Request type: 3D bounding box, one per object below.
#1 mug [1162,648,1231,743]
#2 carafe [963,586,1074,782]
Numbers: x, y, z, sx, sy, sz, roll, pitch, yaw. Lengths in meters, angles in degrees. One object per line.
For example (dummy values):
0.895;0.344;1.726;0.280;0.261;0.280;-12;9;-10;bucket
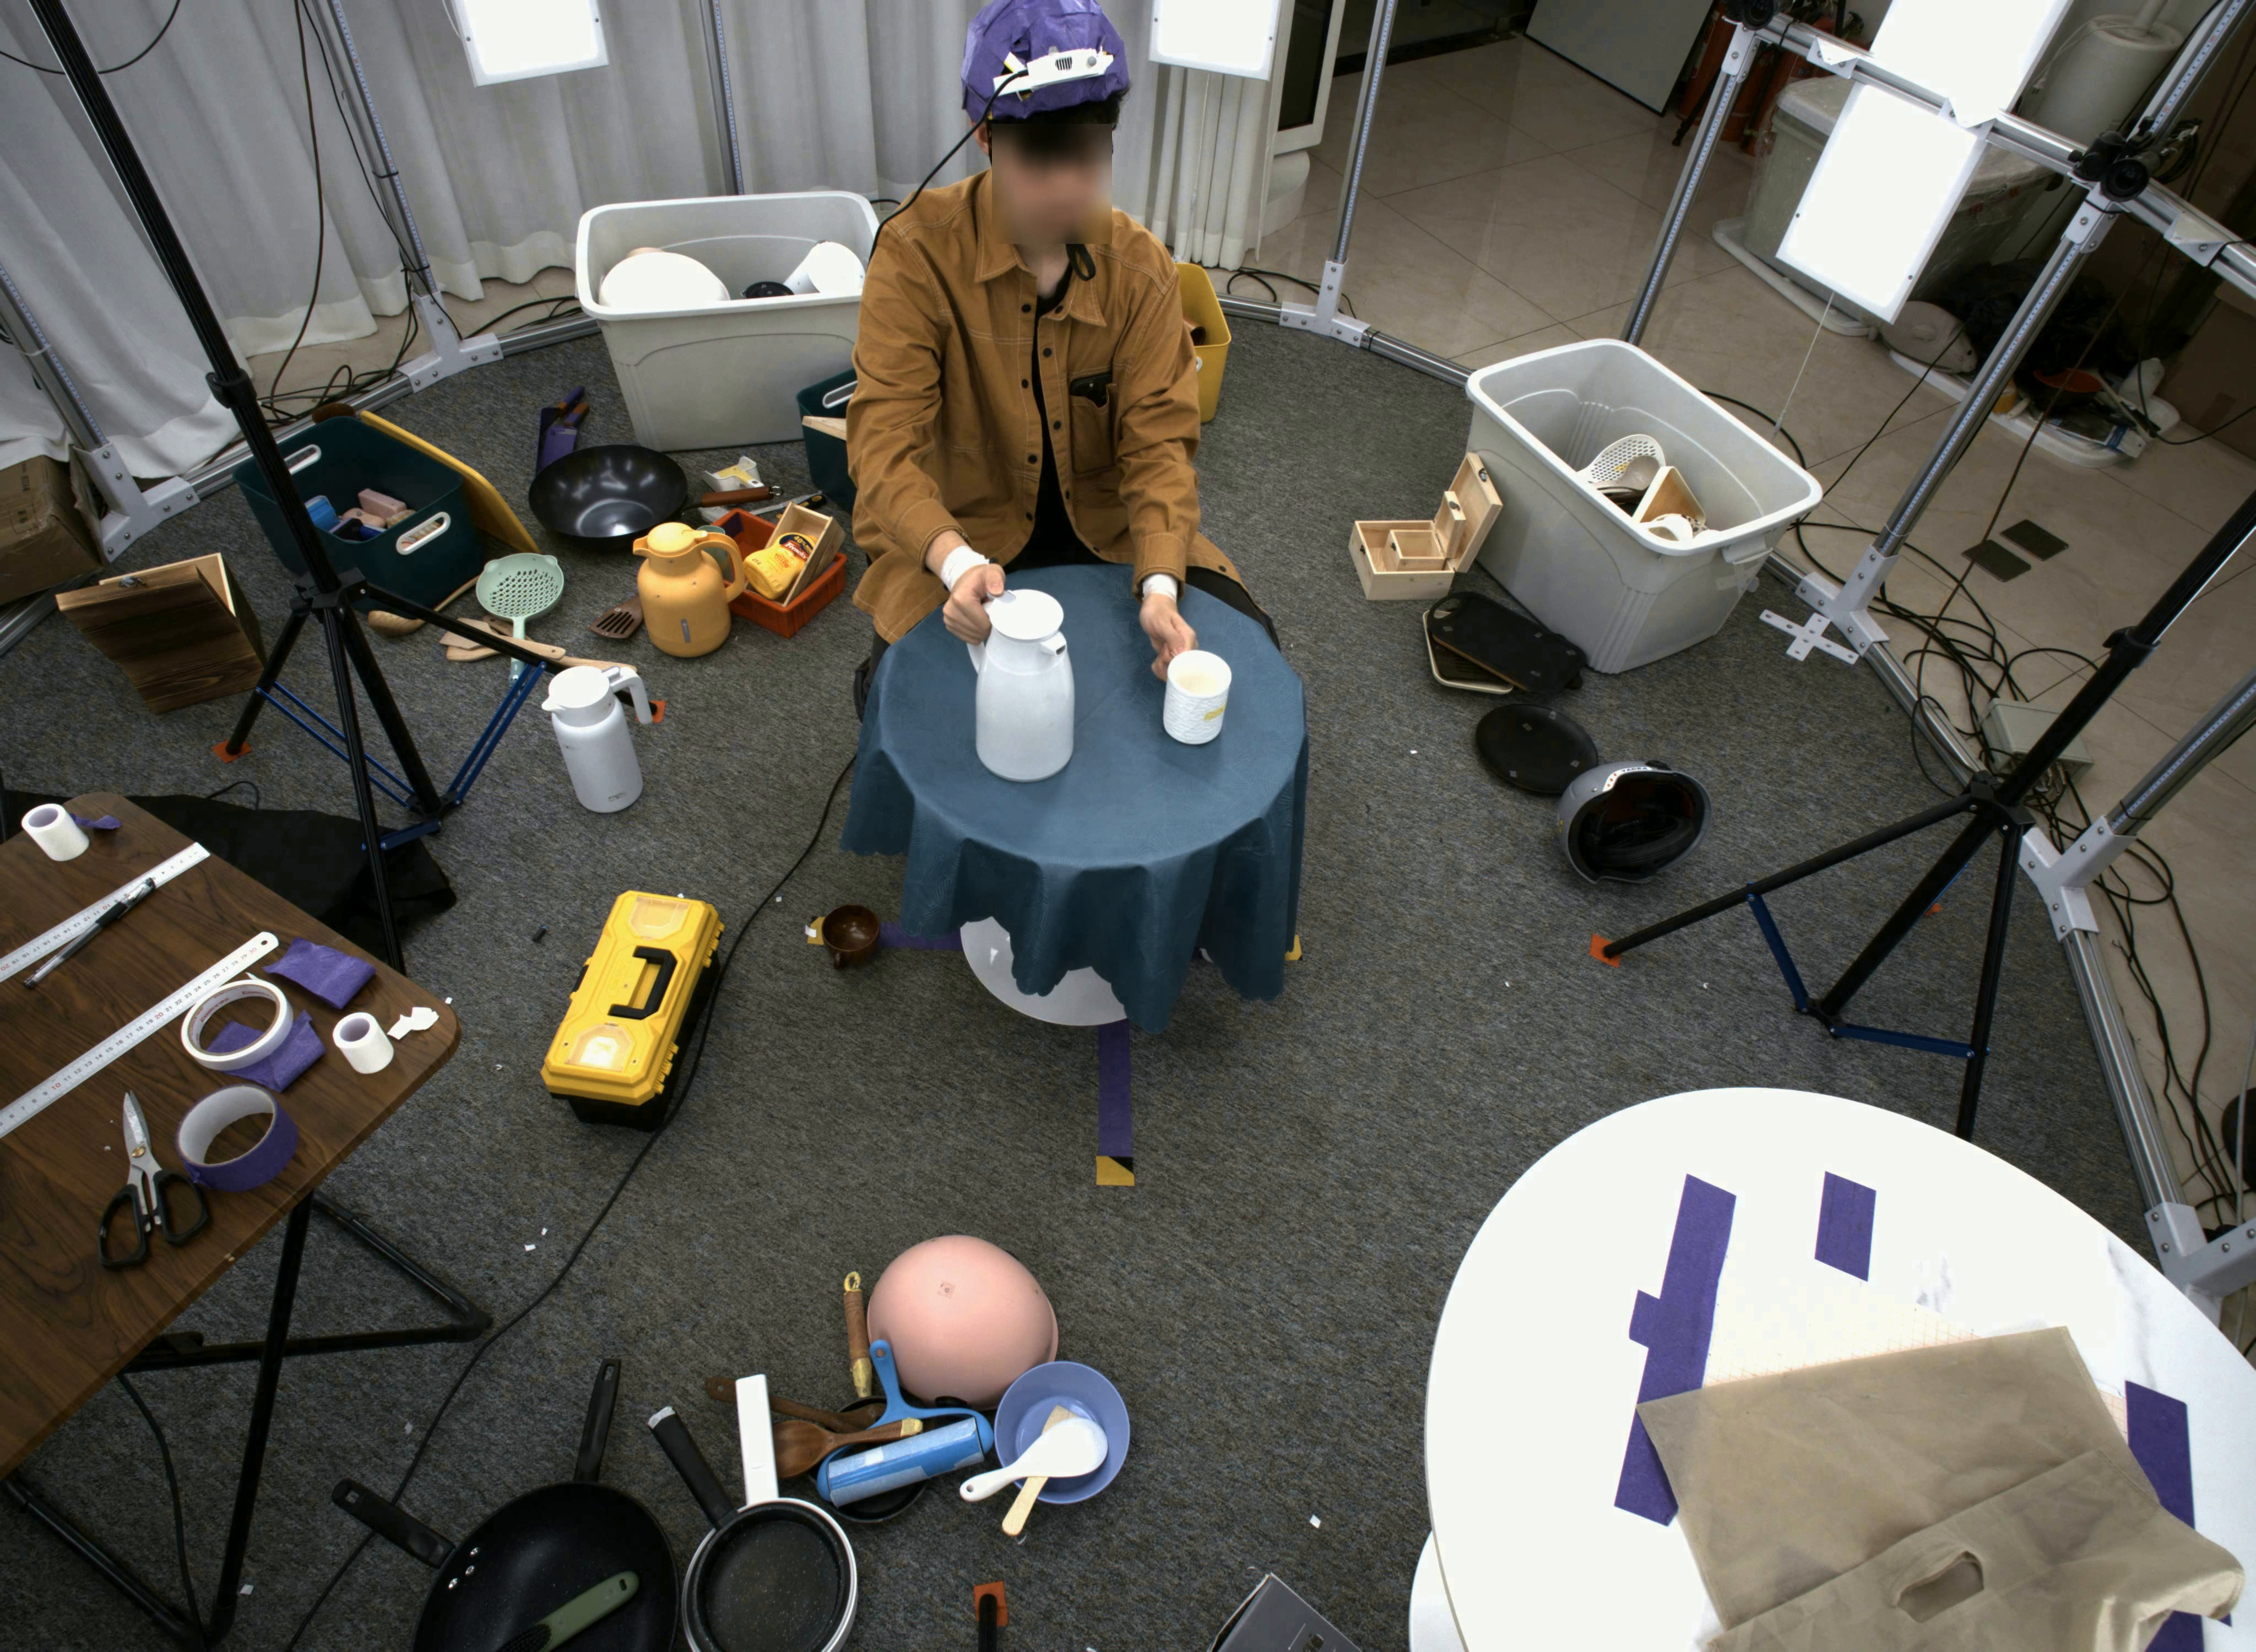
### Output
0.086;-0.188;1.768;0.085;0.099;0.121;-19;55;-20;mug
-0.149;-0.196;1.670;0.170;0.242;0.134;36;57;25;carafe
